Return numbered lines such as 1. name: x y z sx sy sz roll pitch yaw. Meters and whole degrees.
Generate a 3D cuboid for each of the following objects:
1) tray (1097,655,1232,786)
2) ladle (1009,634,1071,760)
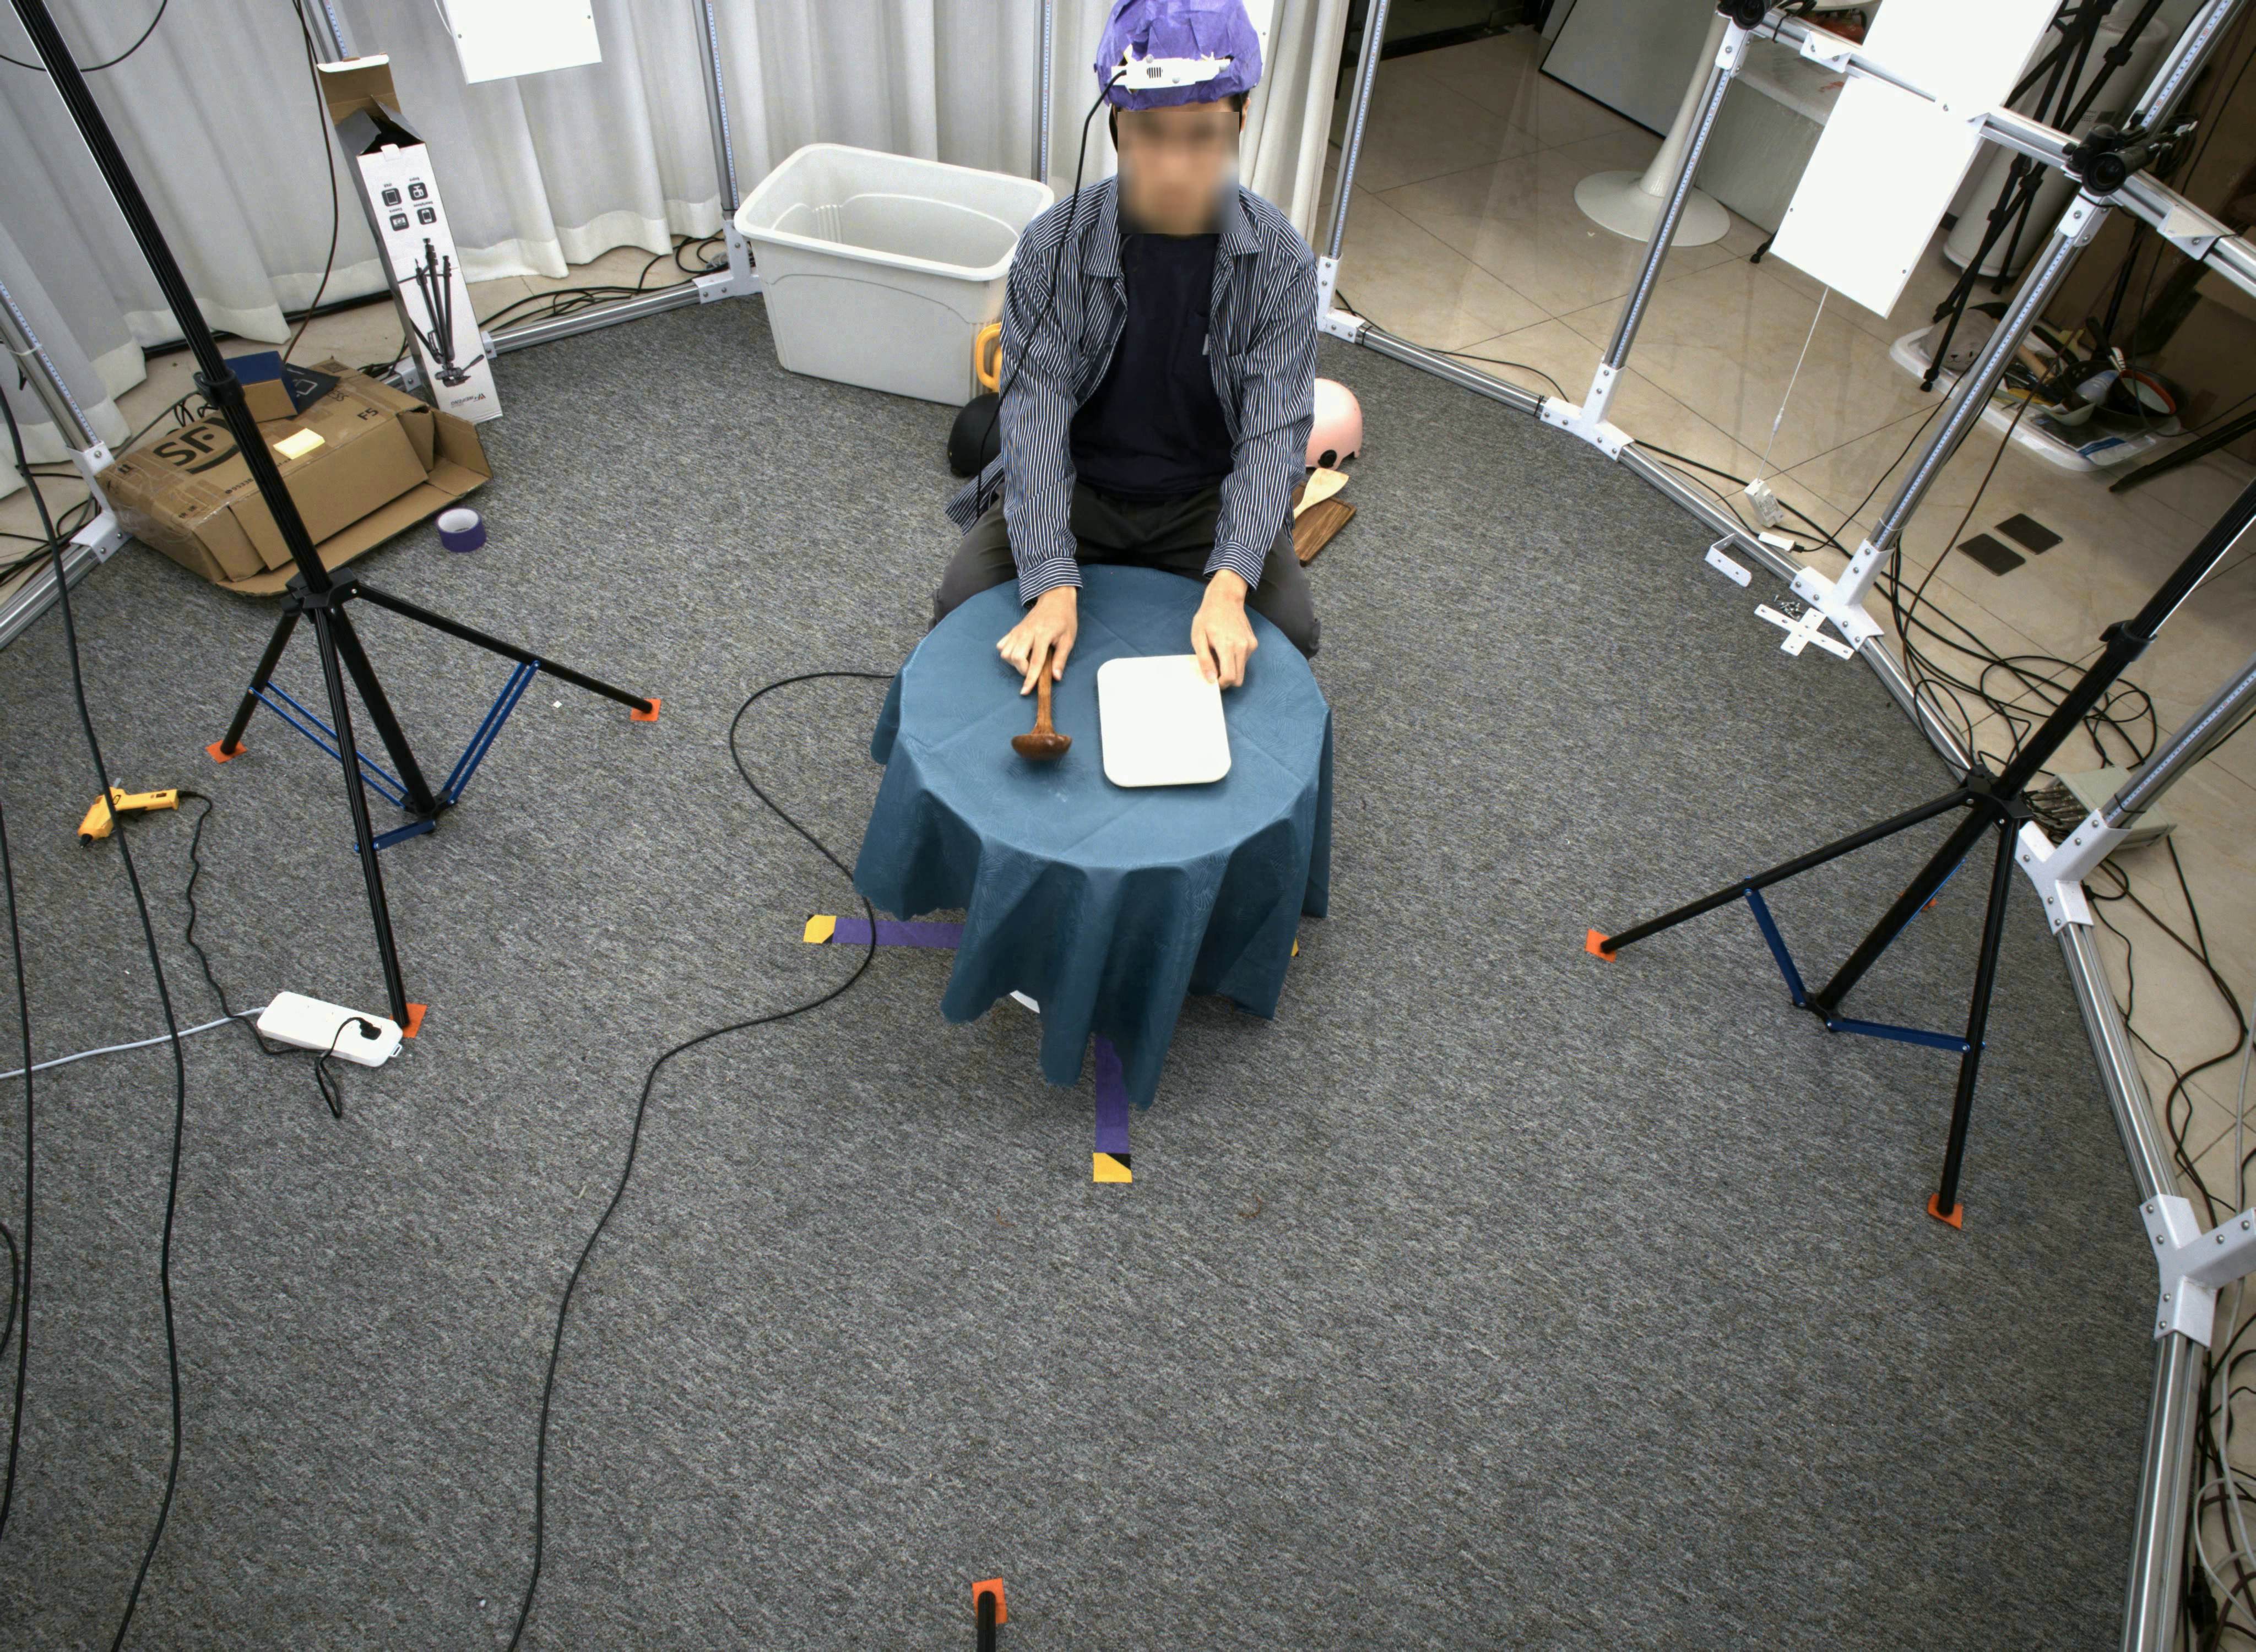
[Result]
1. tray: 0.047 -0.147 1.772 0.171 0.017 0.246 -3 49 -3
2. ladle: -0.116 -0.193 1.766 0.082 0.075 0.281 3 49 -4
